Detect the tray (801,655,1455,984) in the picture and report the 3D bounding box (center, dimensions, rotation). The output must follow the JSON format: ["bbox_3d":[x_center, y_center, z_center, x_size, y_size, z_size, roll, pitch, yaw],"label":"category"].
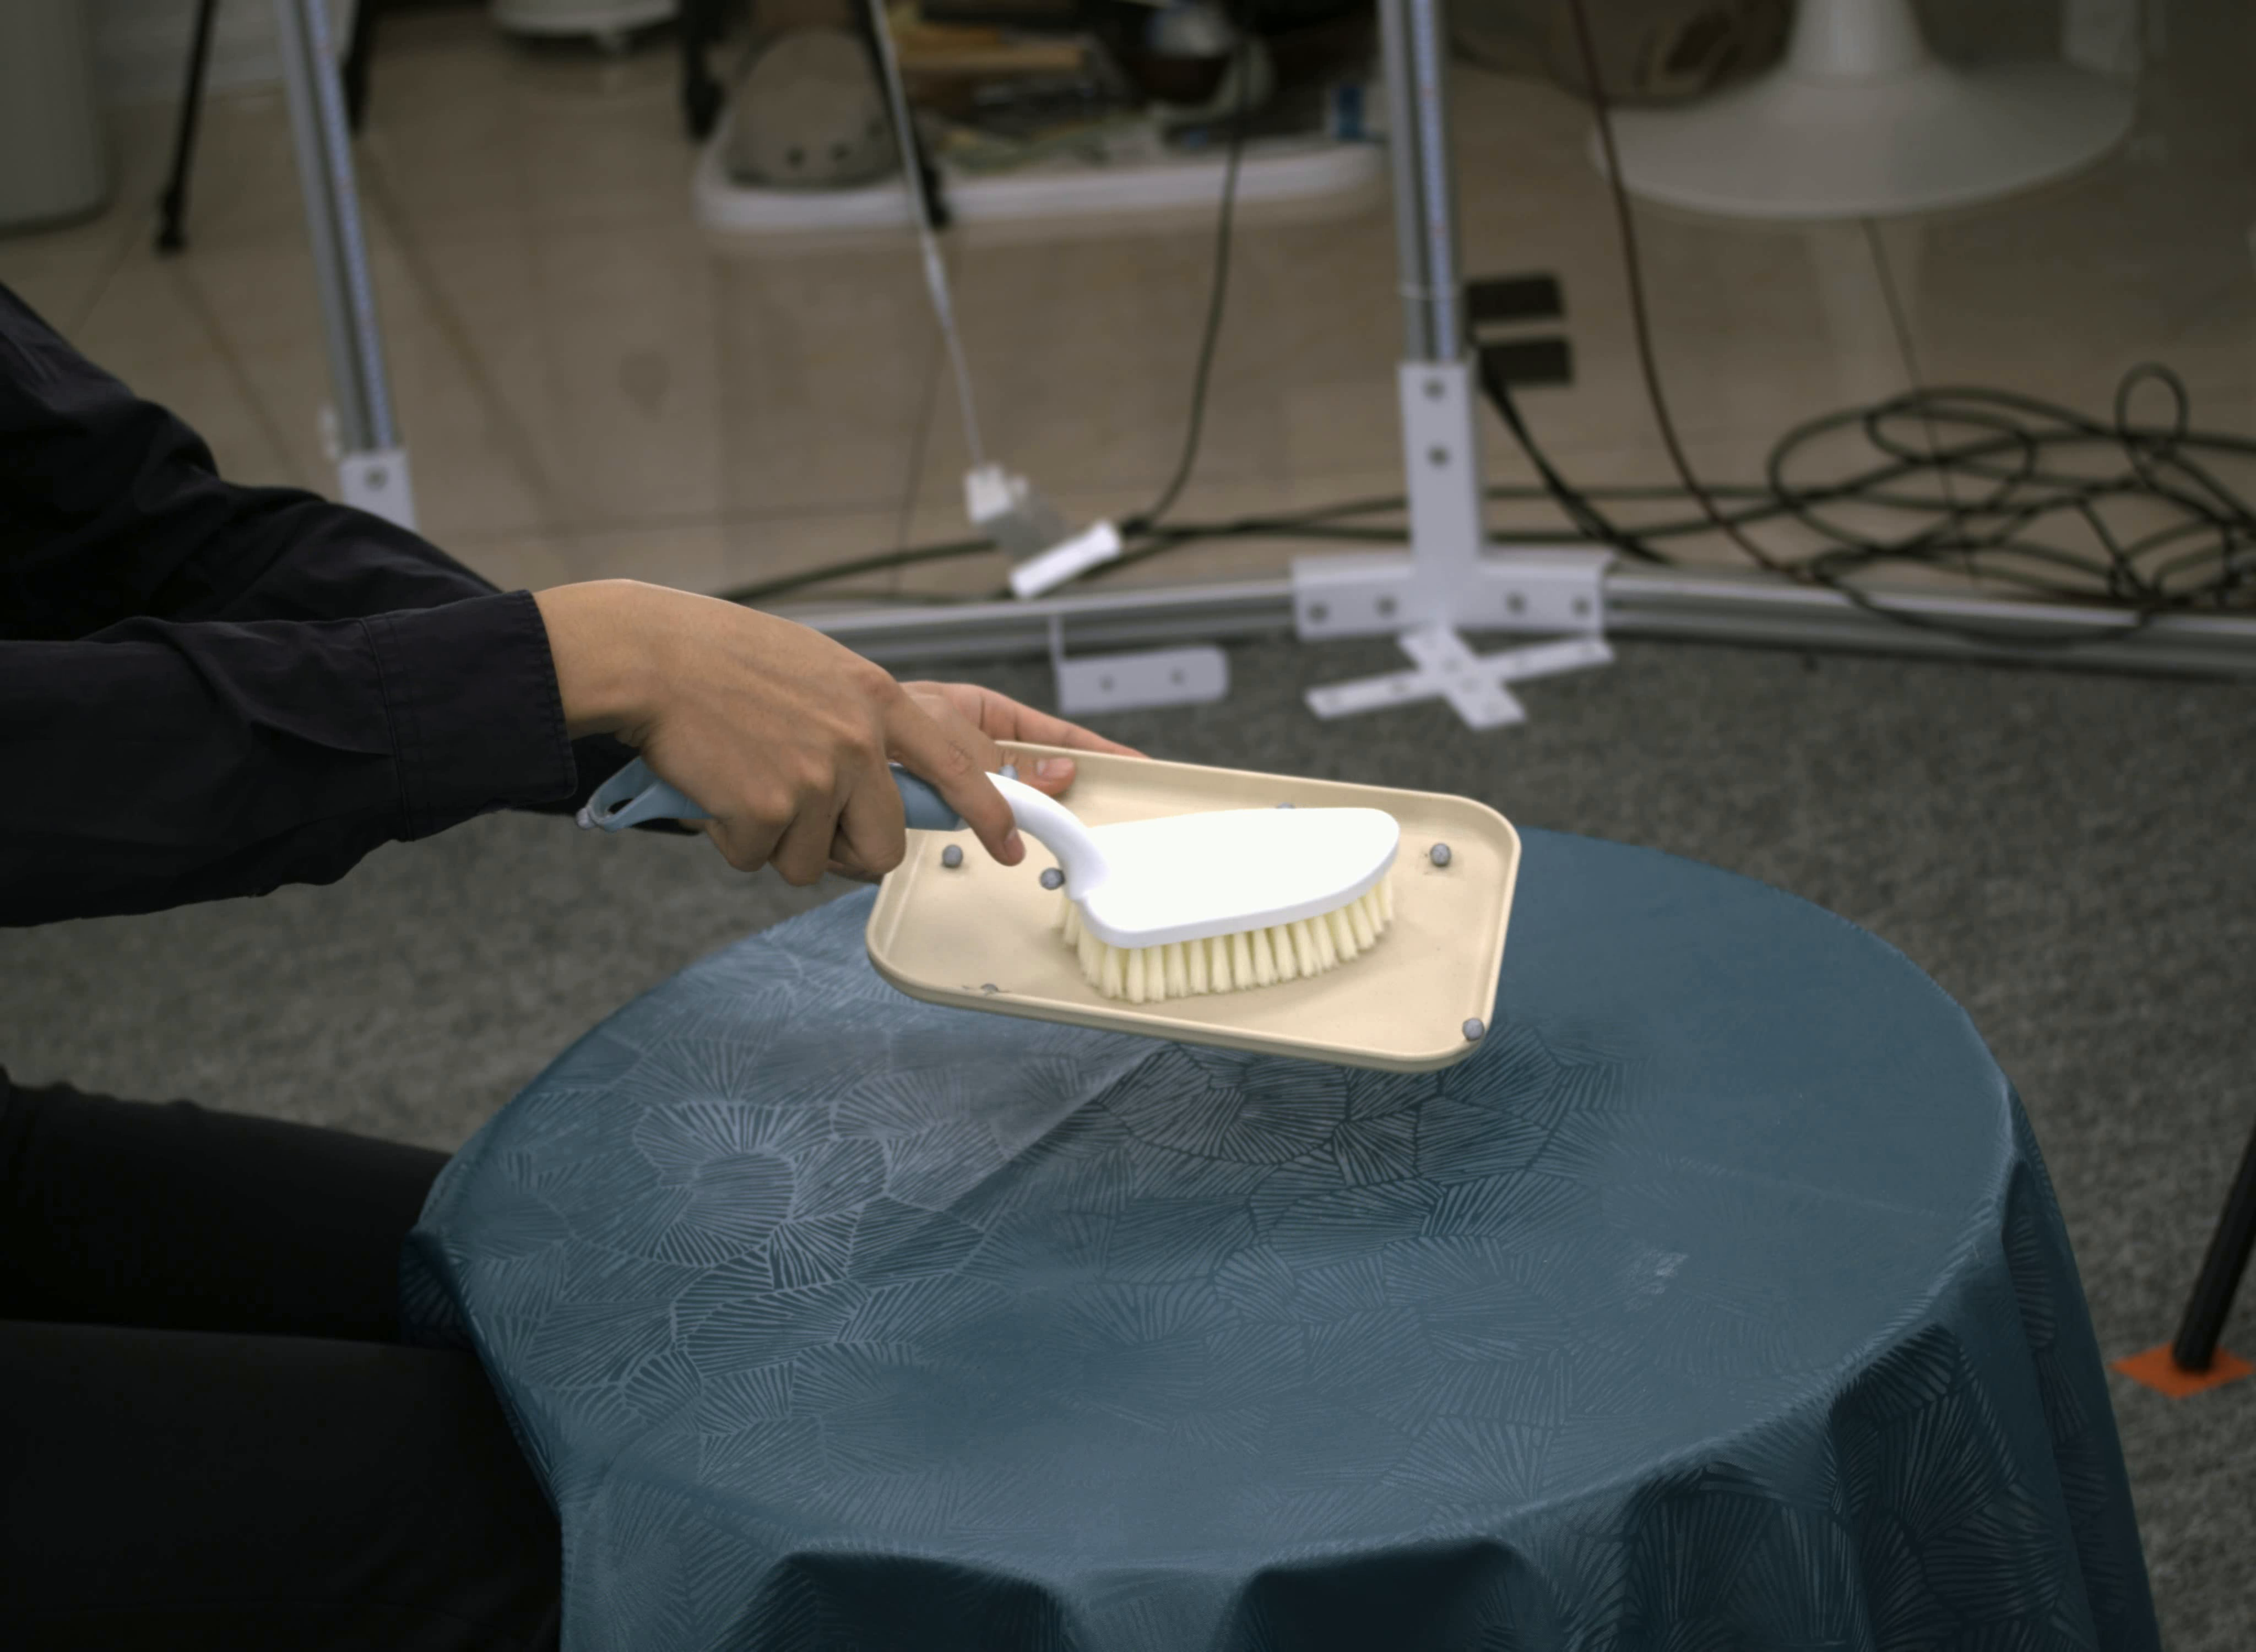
[{"bbox_3d":[0.002,-0.002,2.190,0.239,0.018,0.168,8,37,6],"label":"tray"}]

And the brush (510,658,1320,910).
[{"bbox_3d":[-0.082,-0.012,2.134,0.325,0.084,0.083,2,-3,-22],"label":"brush"}]
